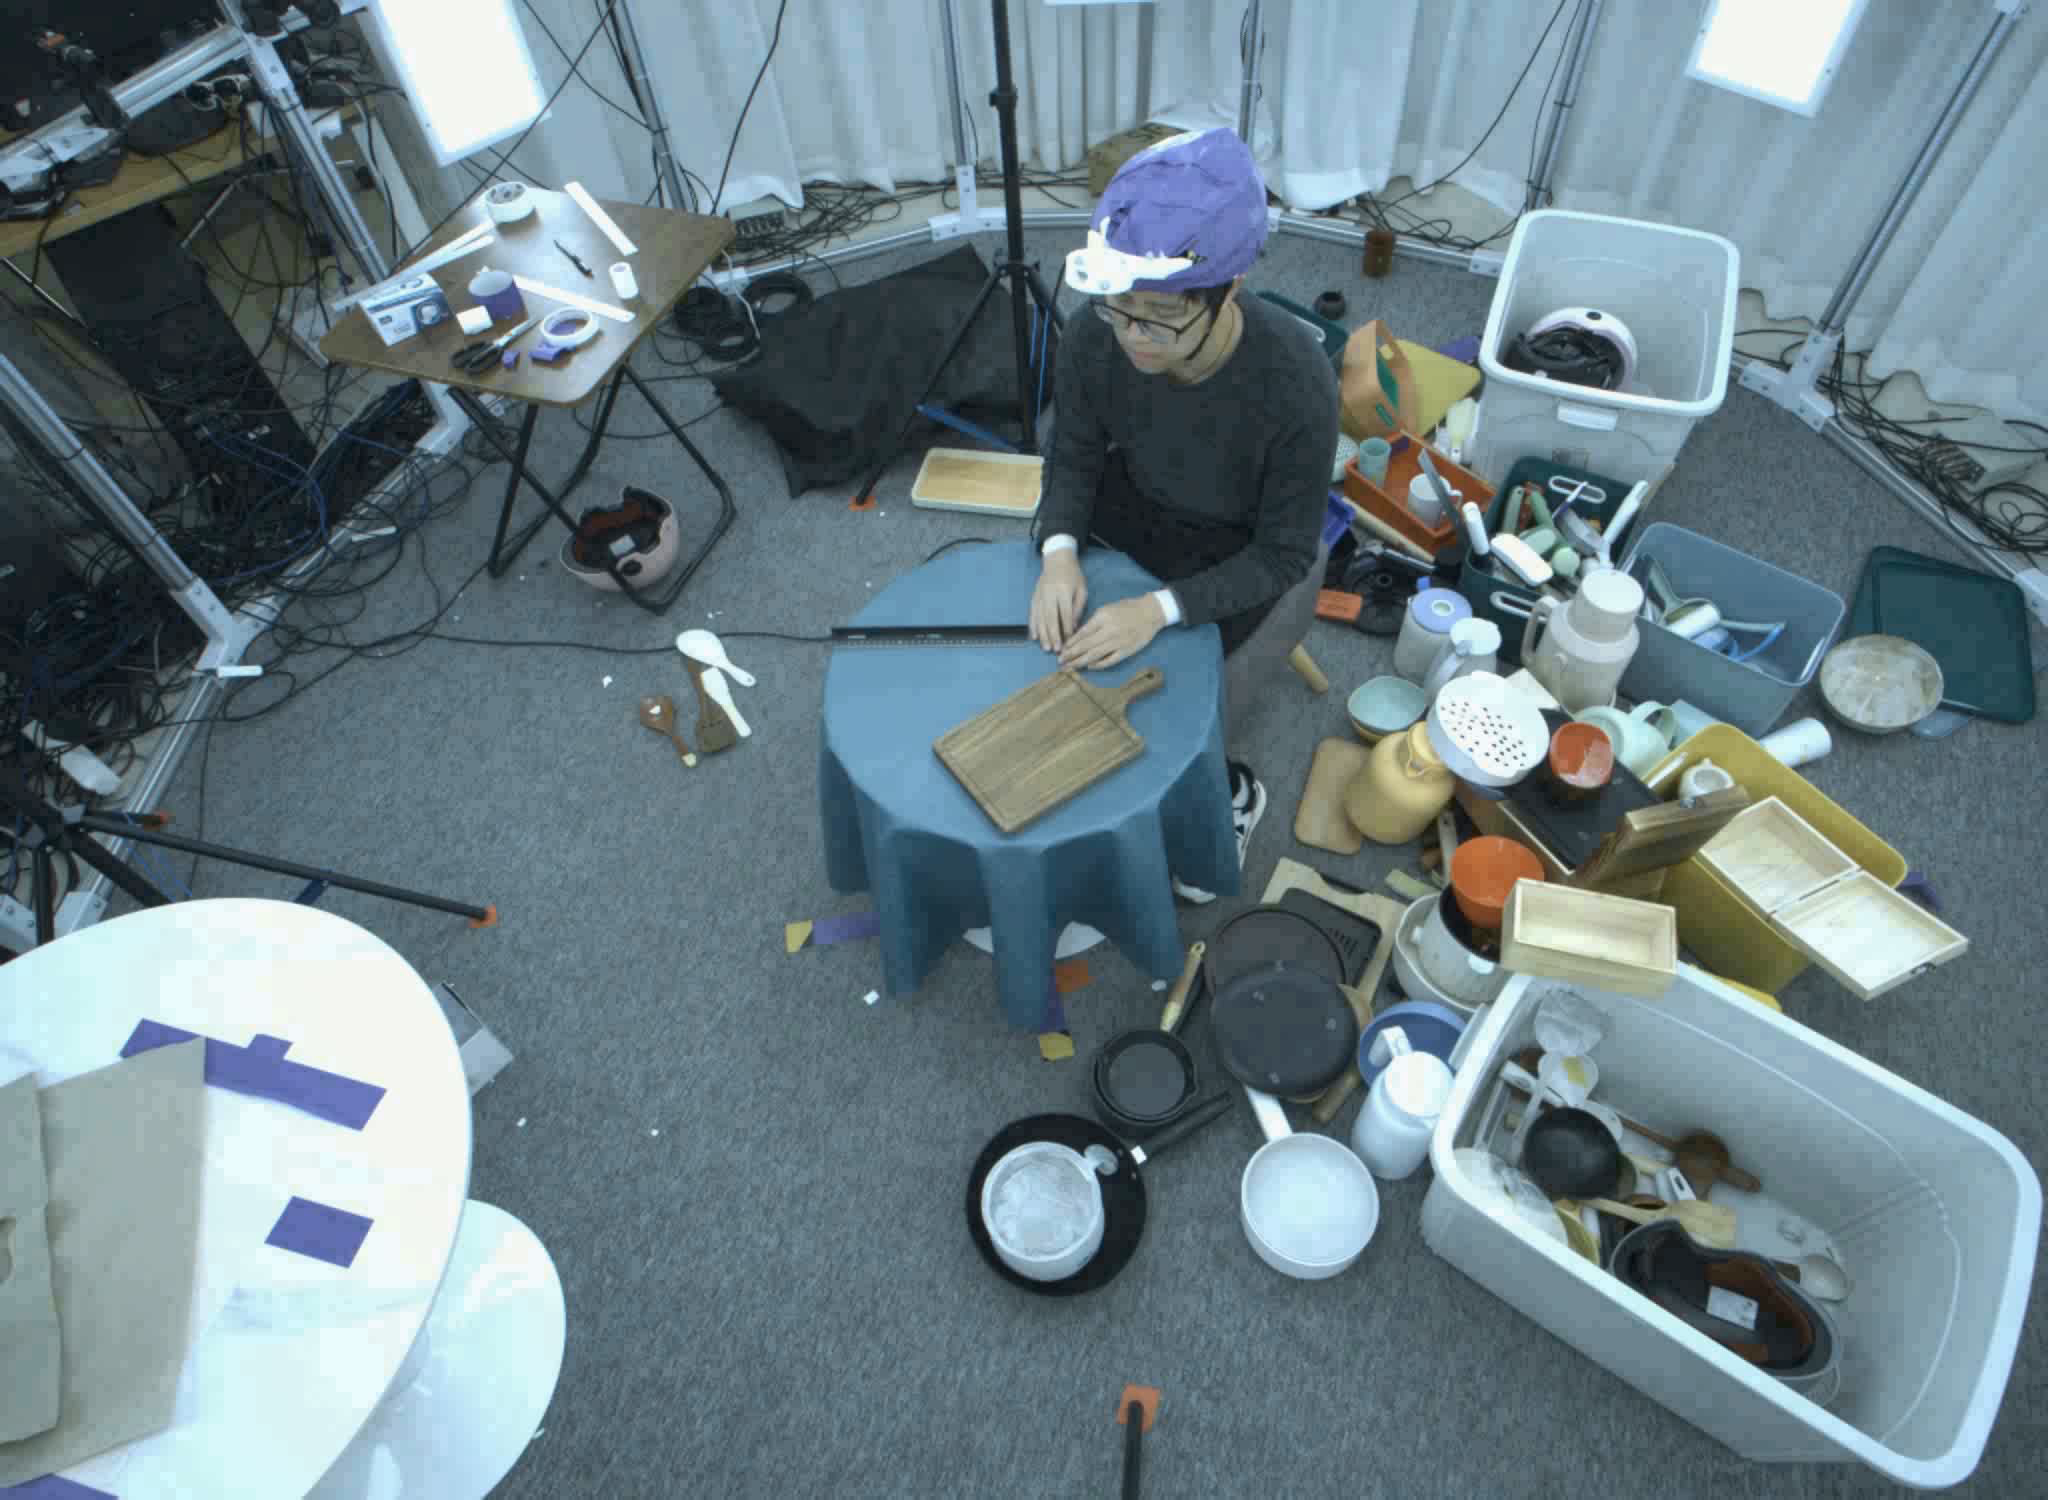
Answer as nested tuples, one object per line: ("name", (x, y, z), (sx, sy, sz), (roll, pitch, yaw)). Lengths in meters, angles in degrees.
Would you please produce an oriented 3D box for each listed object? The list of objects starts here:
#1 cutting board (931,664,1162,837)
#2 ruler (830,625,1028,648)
("cutting board", (0.061, -0.029, 1.794), (0.355, 0.023, 0.197), (-31, 60, -19))
("ruler", (-0.150, -0.179, 1.910), (0.312, 0.017, 0.039), (0, 57, 2))
